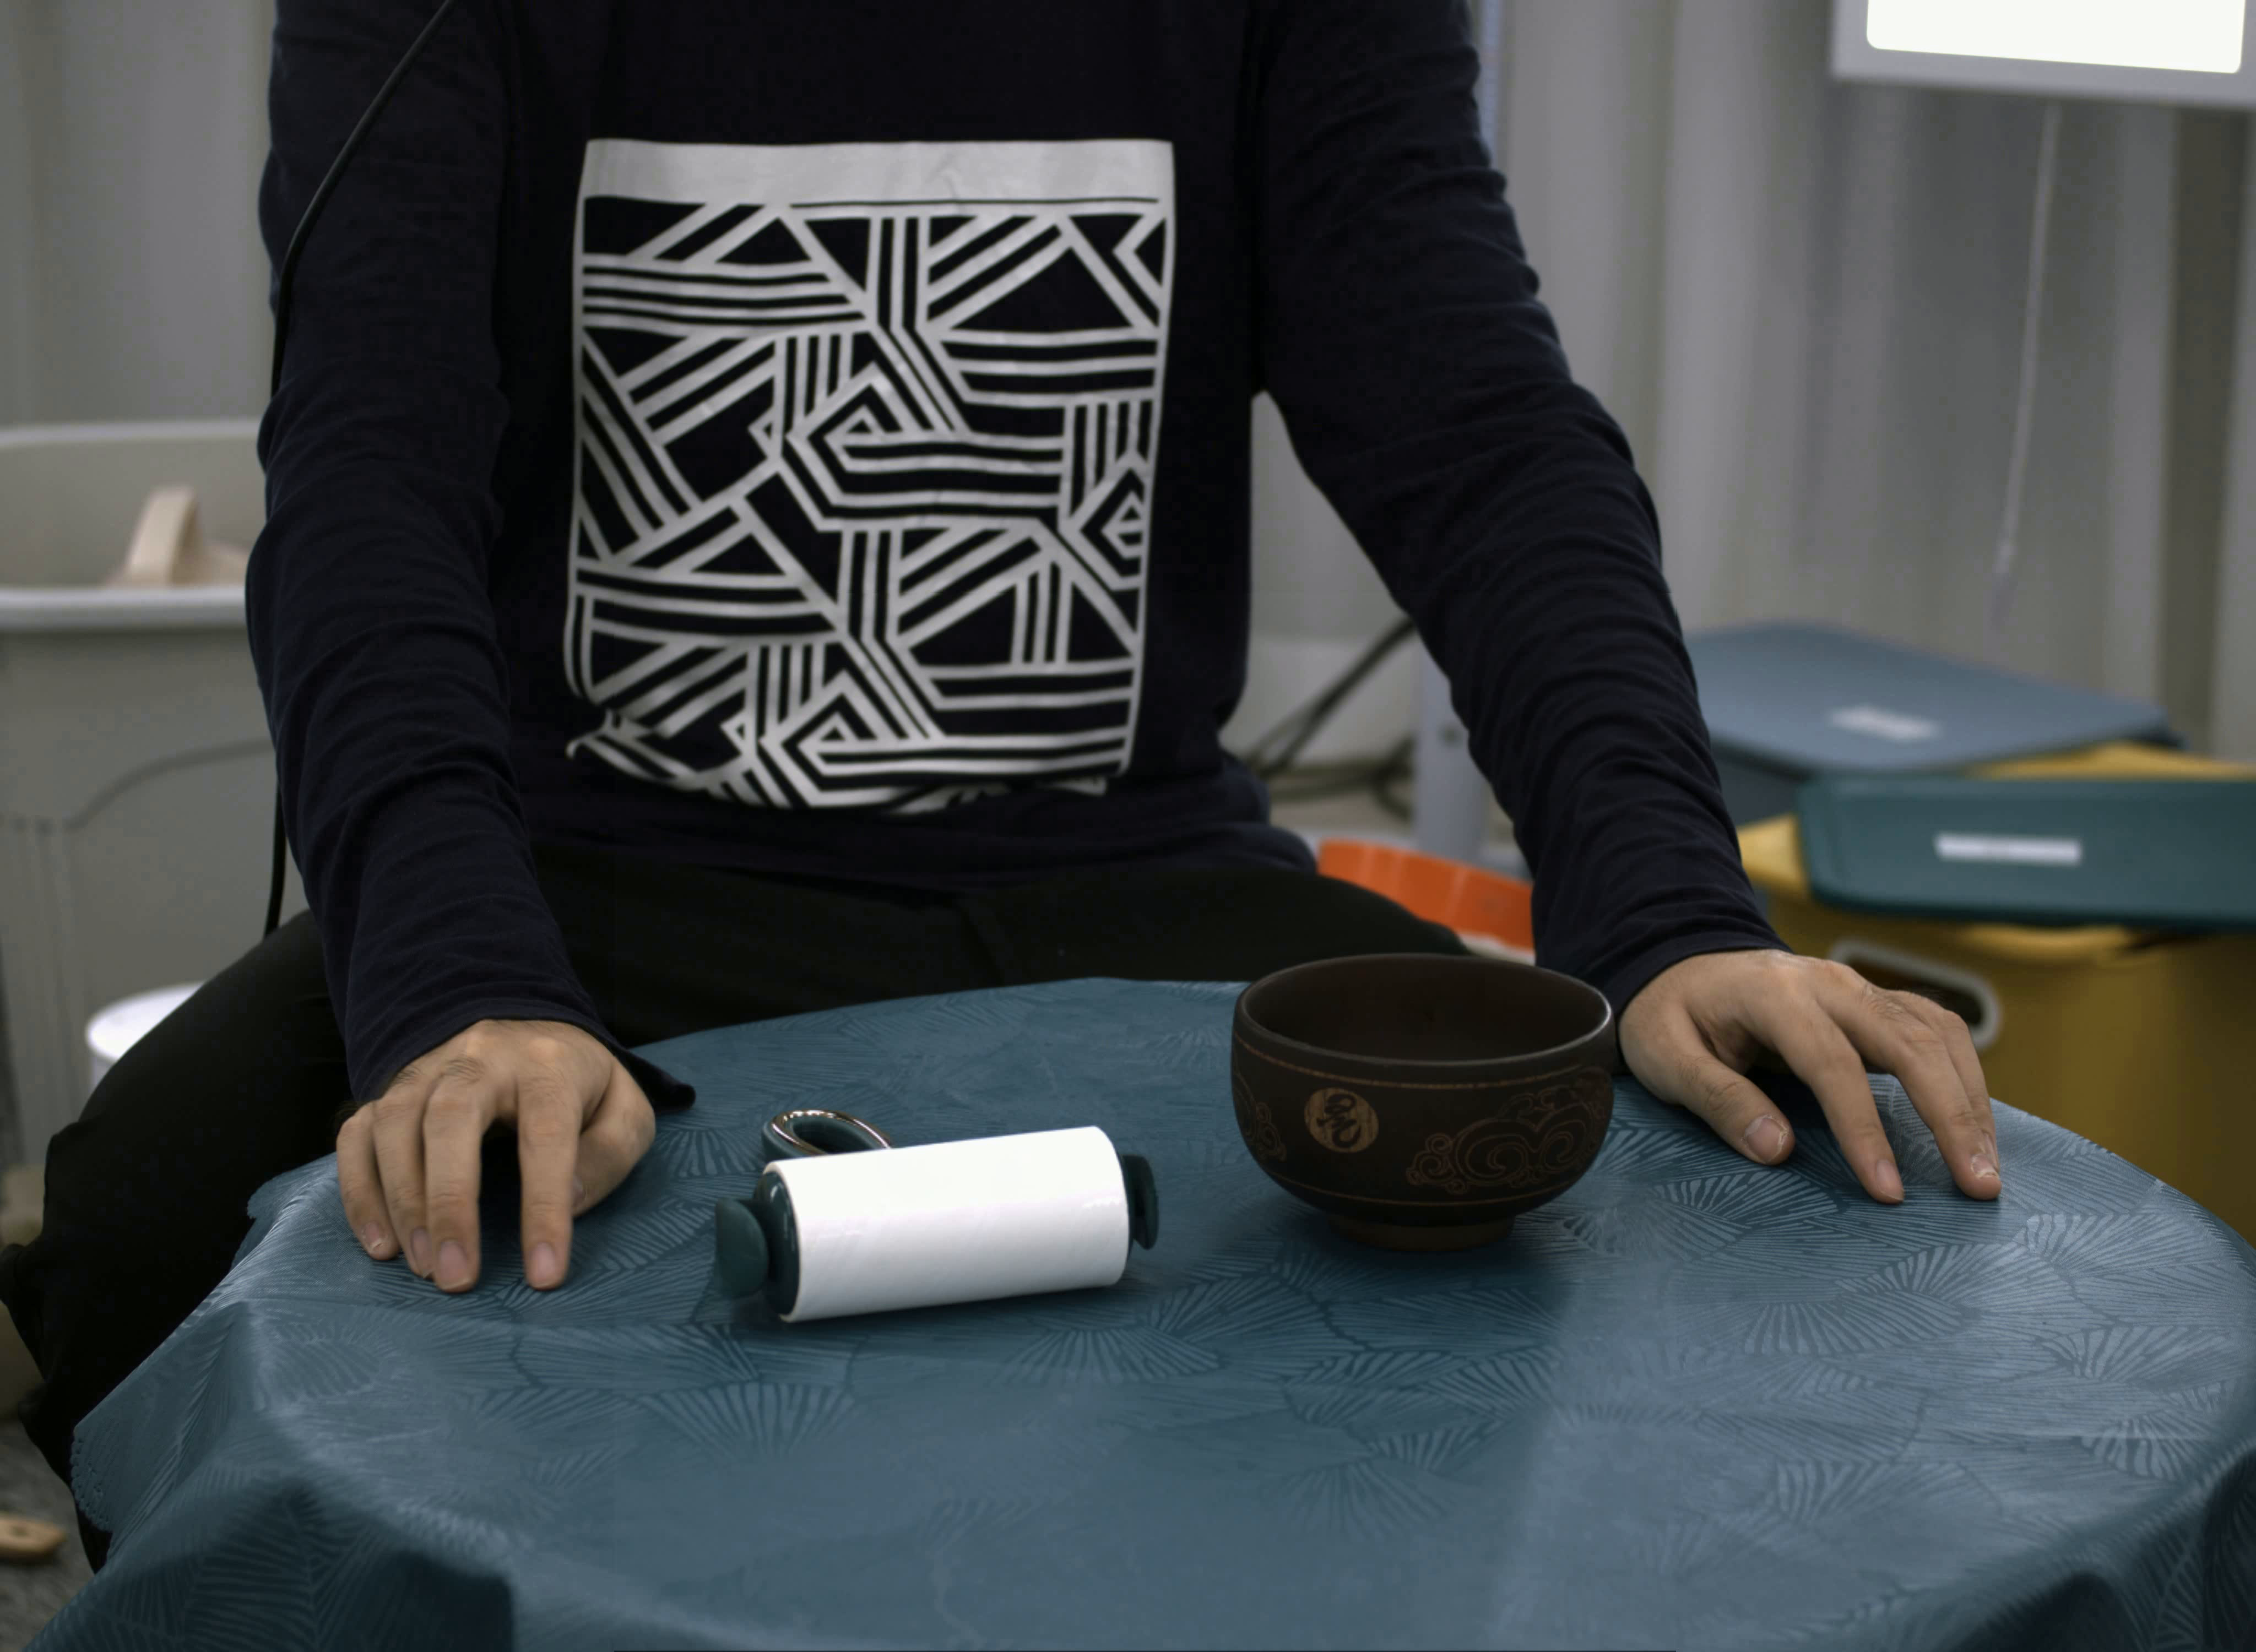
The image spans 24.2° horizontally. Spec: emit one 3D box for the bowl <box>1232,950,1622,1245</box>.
[{"bbox_3d":[0.090,0.085,1.590,0.117,0.070,0.117,-1,14,1],"label":"bowl"}]

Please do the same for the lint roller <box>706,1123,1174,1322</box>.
[{"bbox_3d":[-0.077,0.103,1.585,0.134,0.048,0.178,-6,12,-19],"label":"lint roller"}]
